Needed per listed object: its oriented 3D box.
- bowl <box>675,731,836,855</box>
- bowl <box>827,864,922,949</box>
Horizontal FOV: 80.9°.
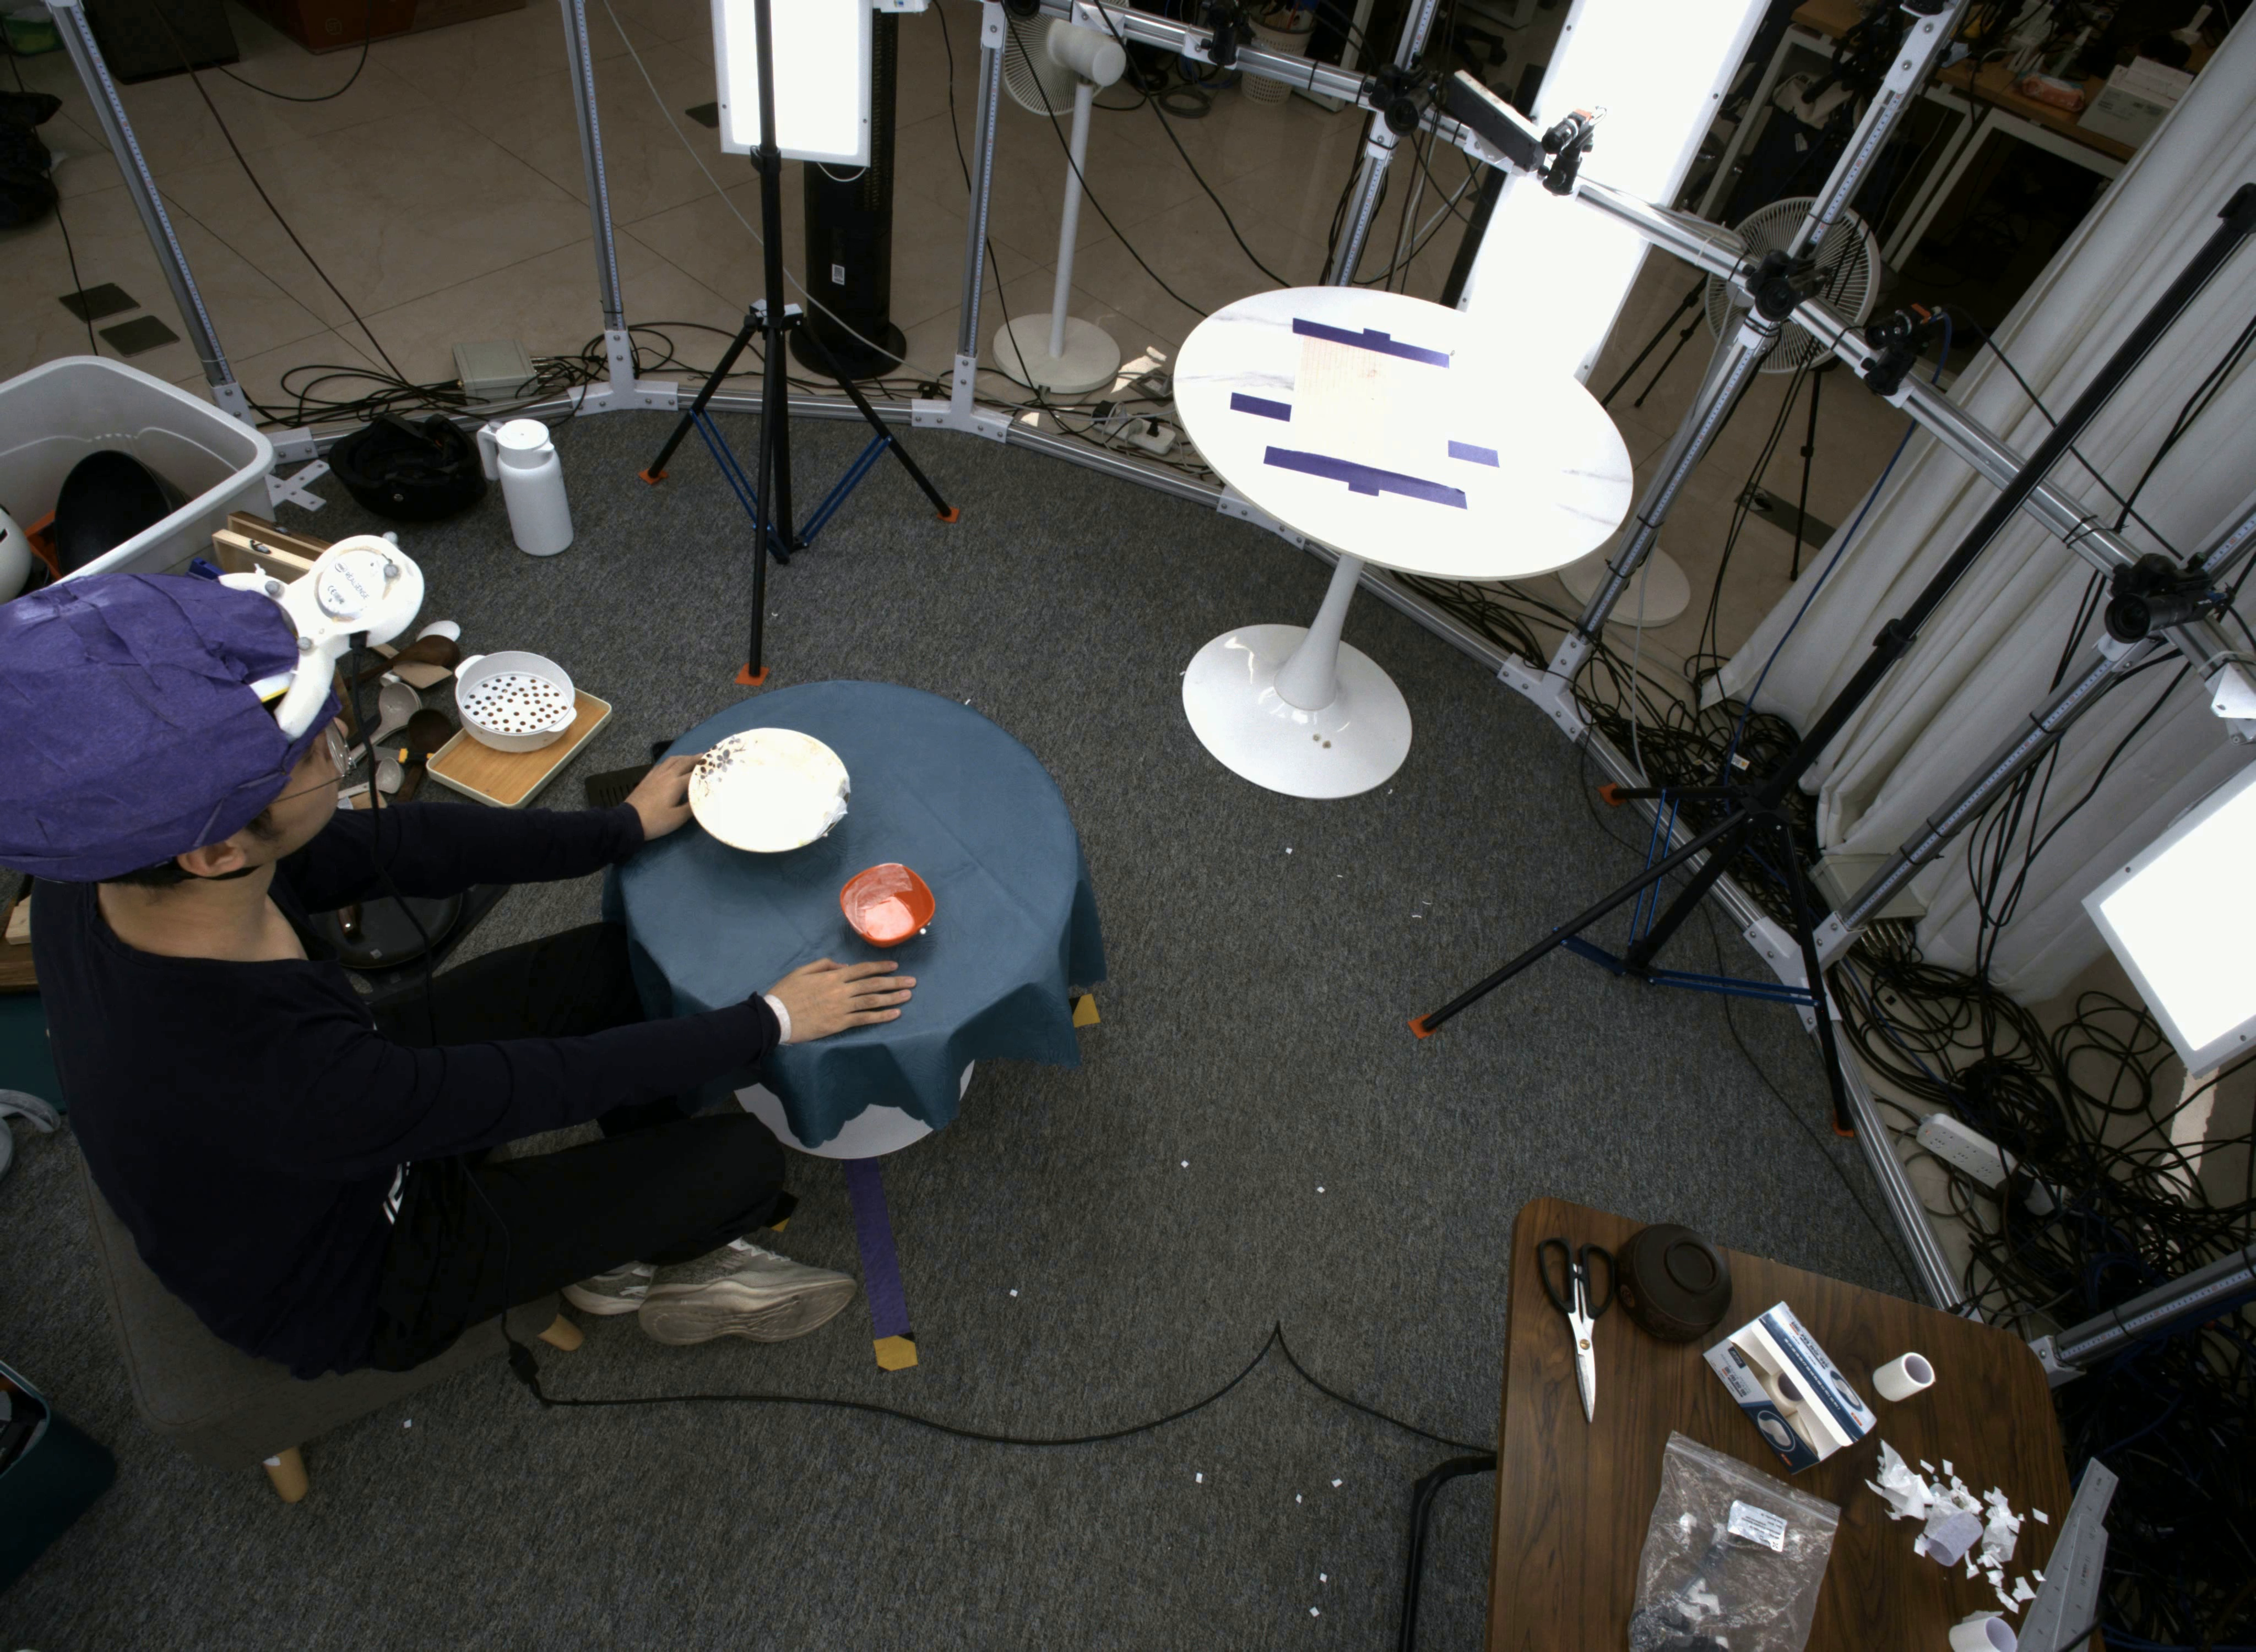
[{"bbox_3d":[-0.483,-0.024,1.689,0.203,0.079,0.200,7,52,-8],"label":"bowl"},{"bbox_3d":[-0.321,0.109,1.647,0.119,0.052,0.117,8,53,-9],"label":"bowl"}]
